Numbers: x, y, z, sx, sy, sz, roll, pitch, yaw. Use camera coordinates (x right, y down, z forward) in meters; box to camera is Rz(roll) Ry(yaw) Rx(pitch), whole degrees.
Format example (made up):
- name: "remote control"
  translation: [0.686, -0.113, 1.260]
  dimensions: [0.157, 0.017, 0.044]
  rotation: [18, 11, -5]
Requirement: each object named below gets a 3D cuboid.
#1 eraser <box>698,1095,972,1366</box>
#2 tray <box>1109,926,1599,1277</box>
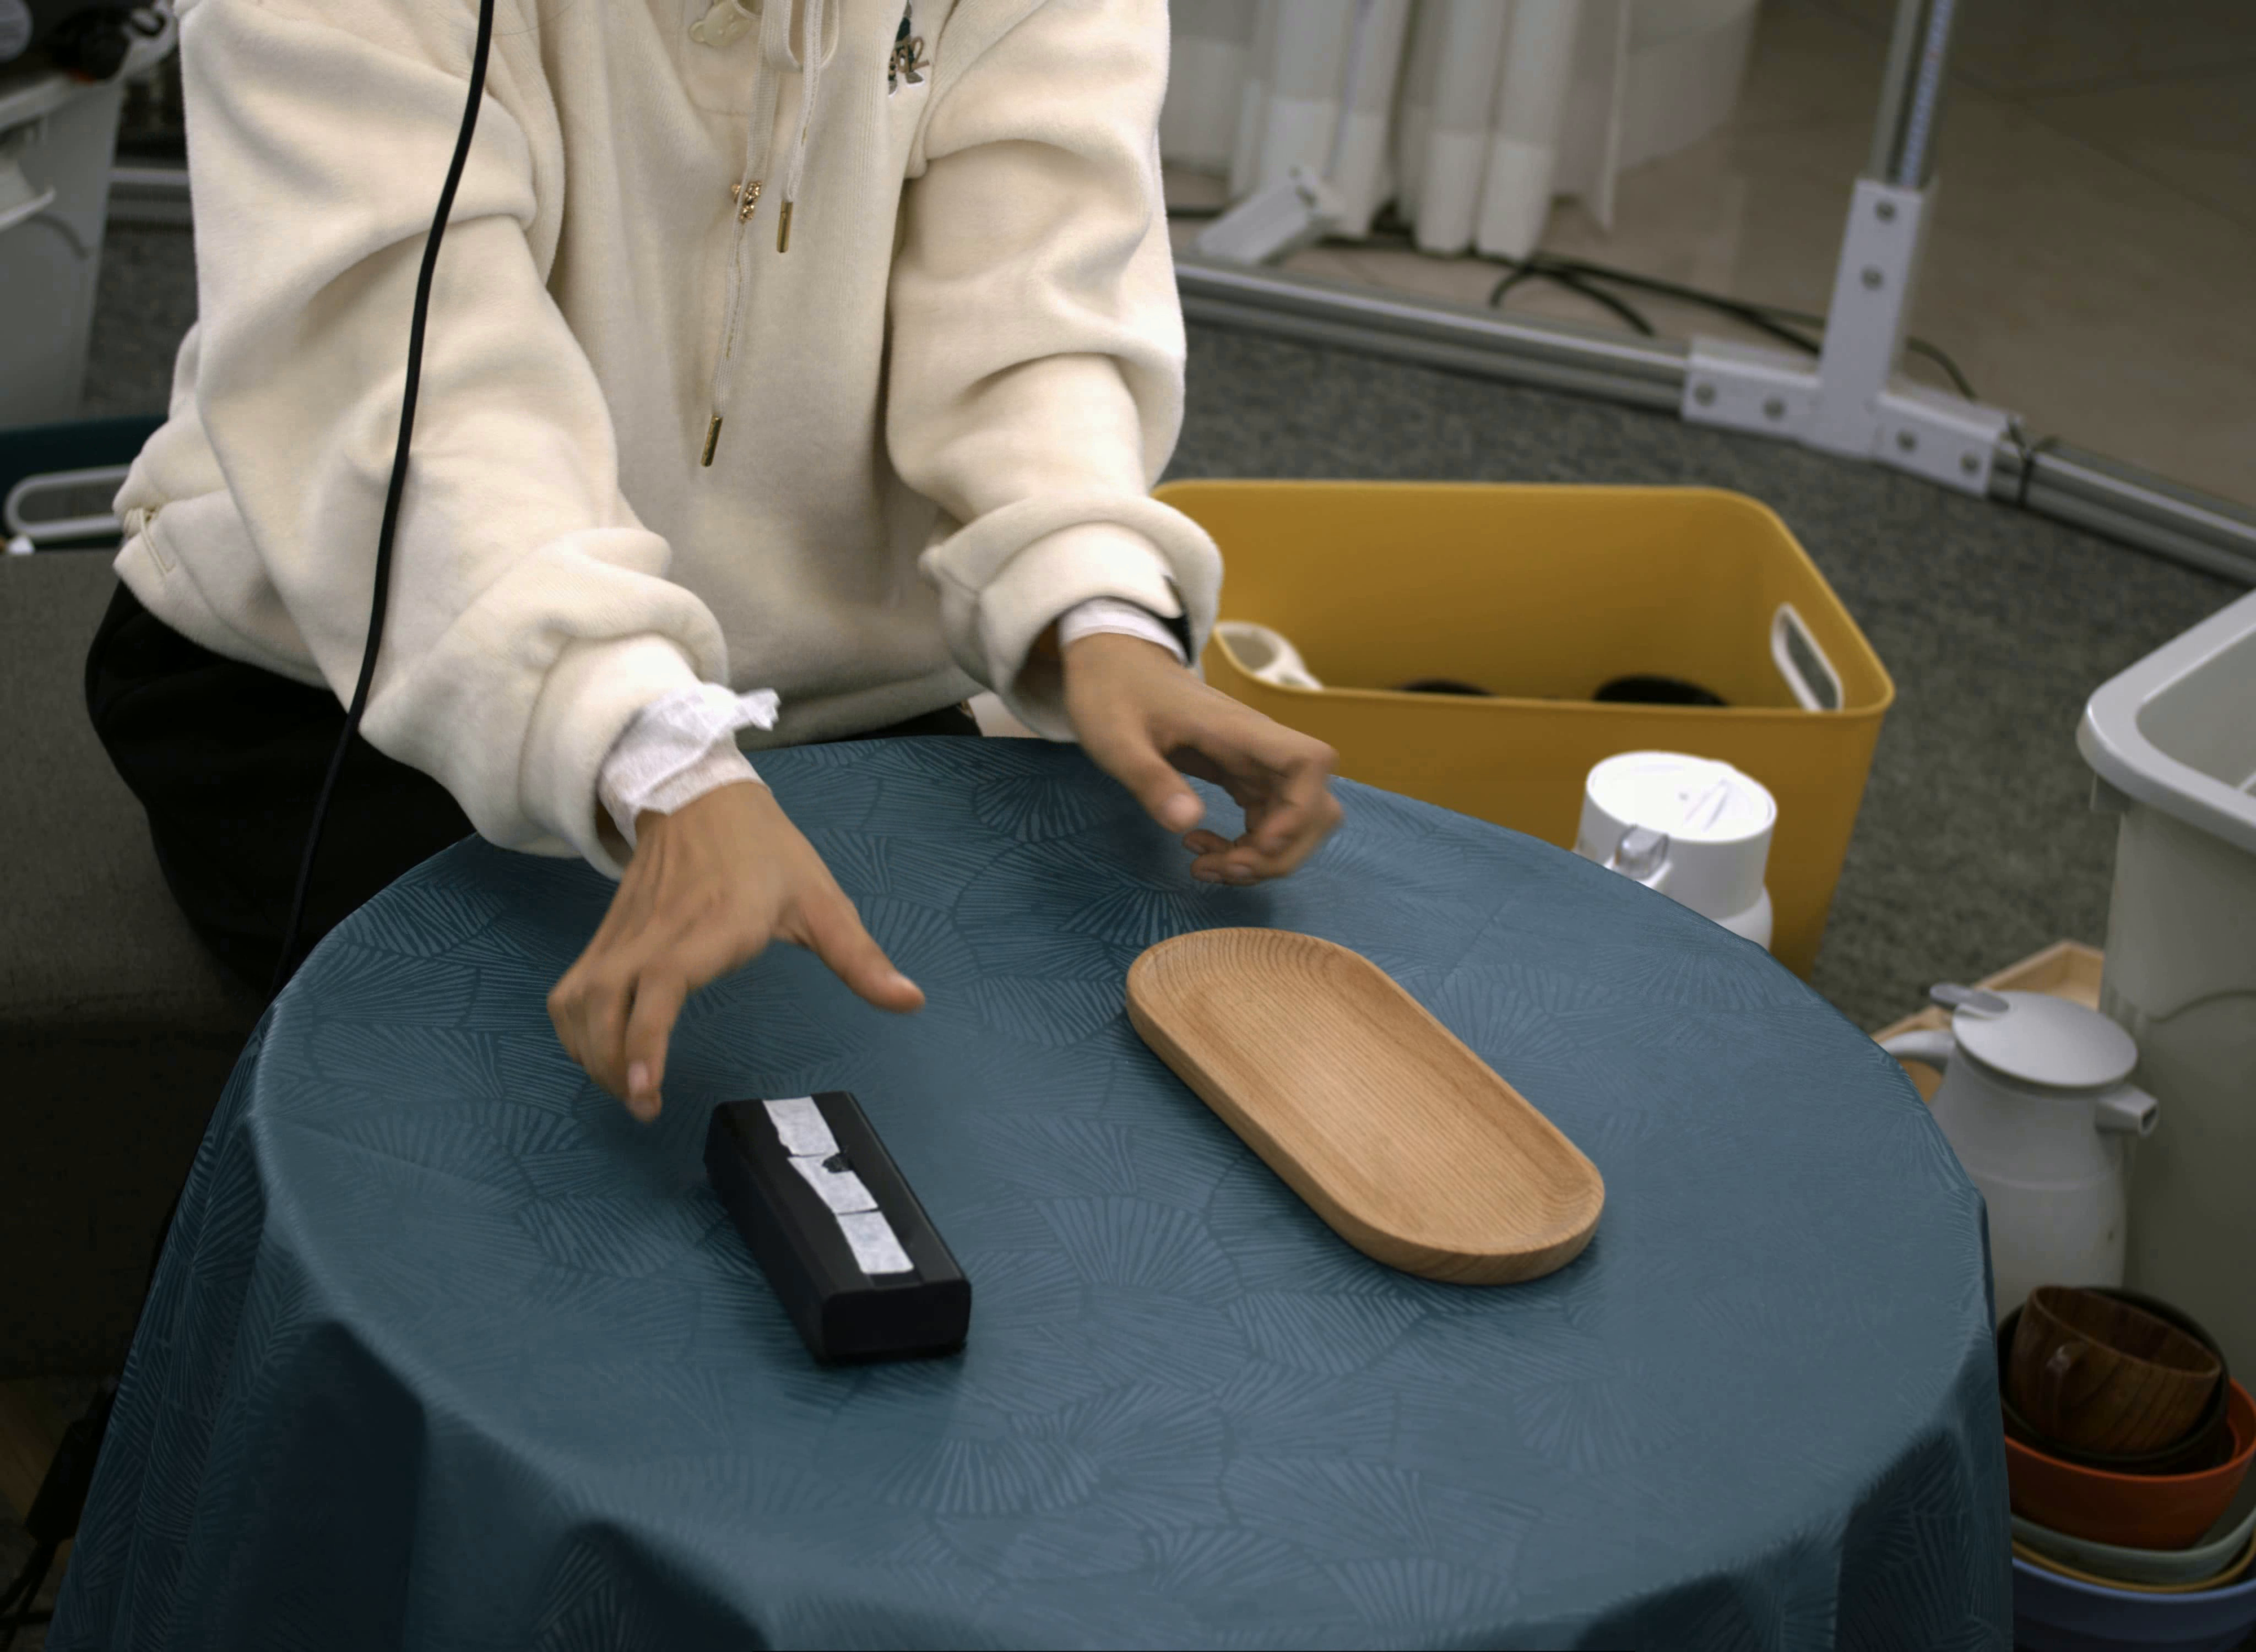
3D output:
- name: "eraser"
  translation: [-0.096, 0.131, 1.733]
  dimensions: [0.053, 0.030, 0.126]
  rotation: [1, 28, -25]
- name: "tray"
  translation: [0.076, 0.094, 1.860]
  dimensions: [0.101, 0.020, 0.233]
  rotation: [-9, 29, -29]
